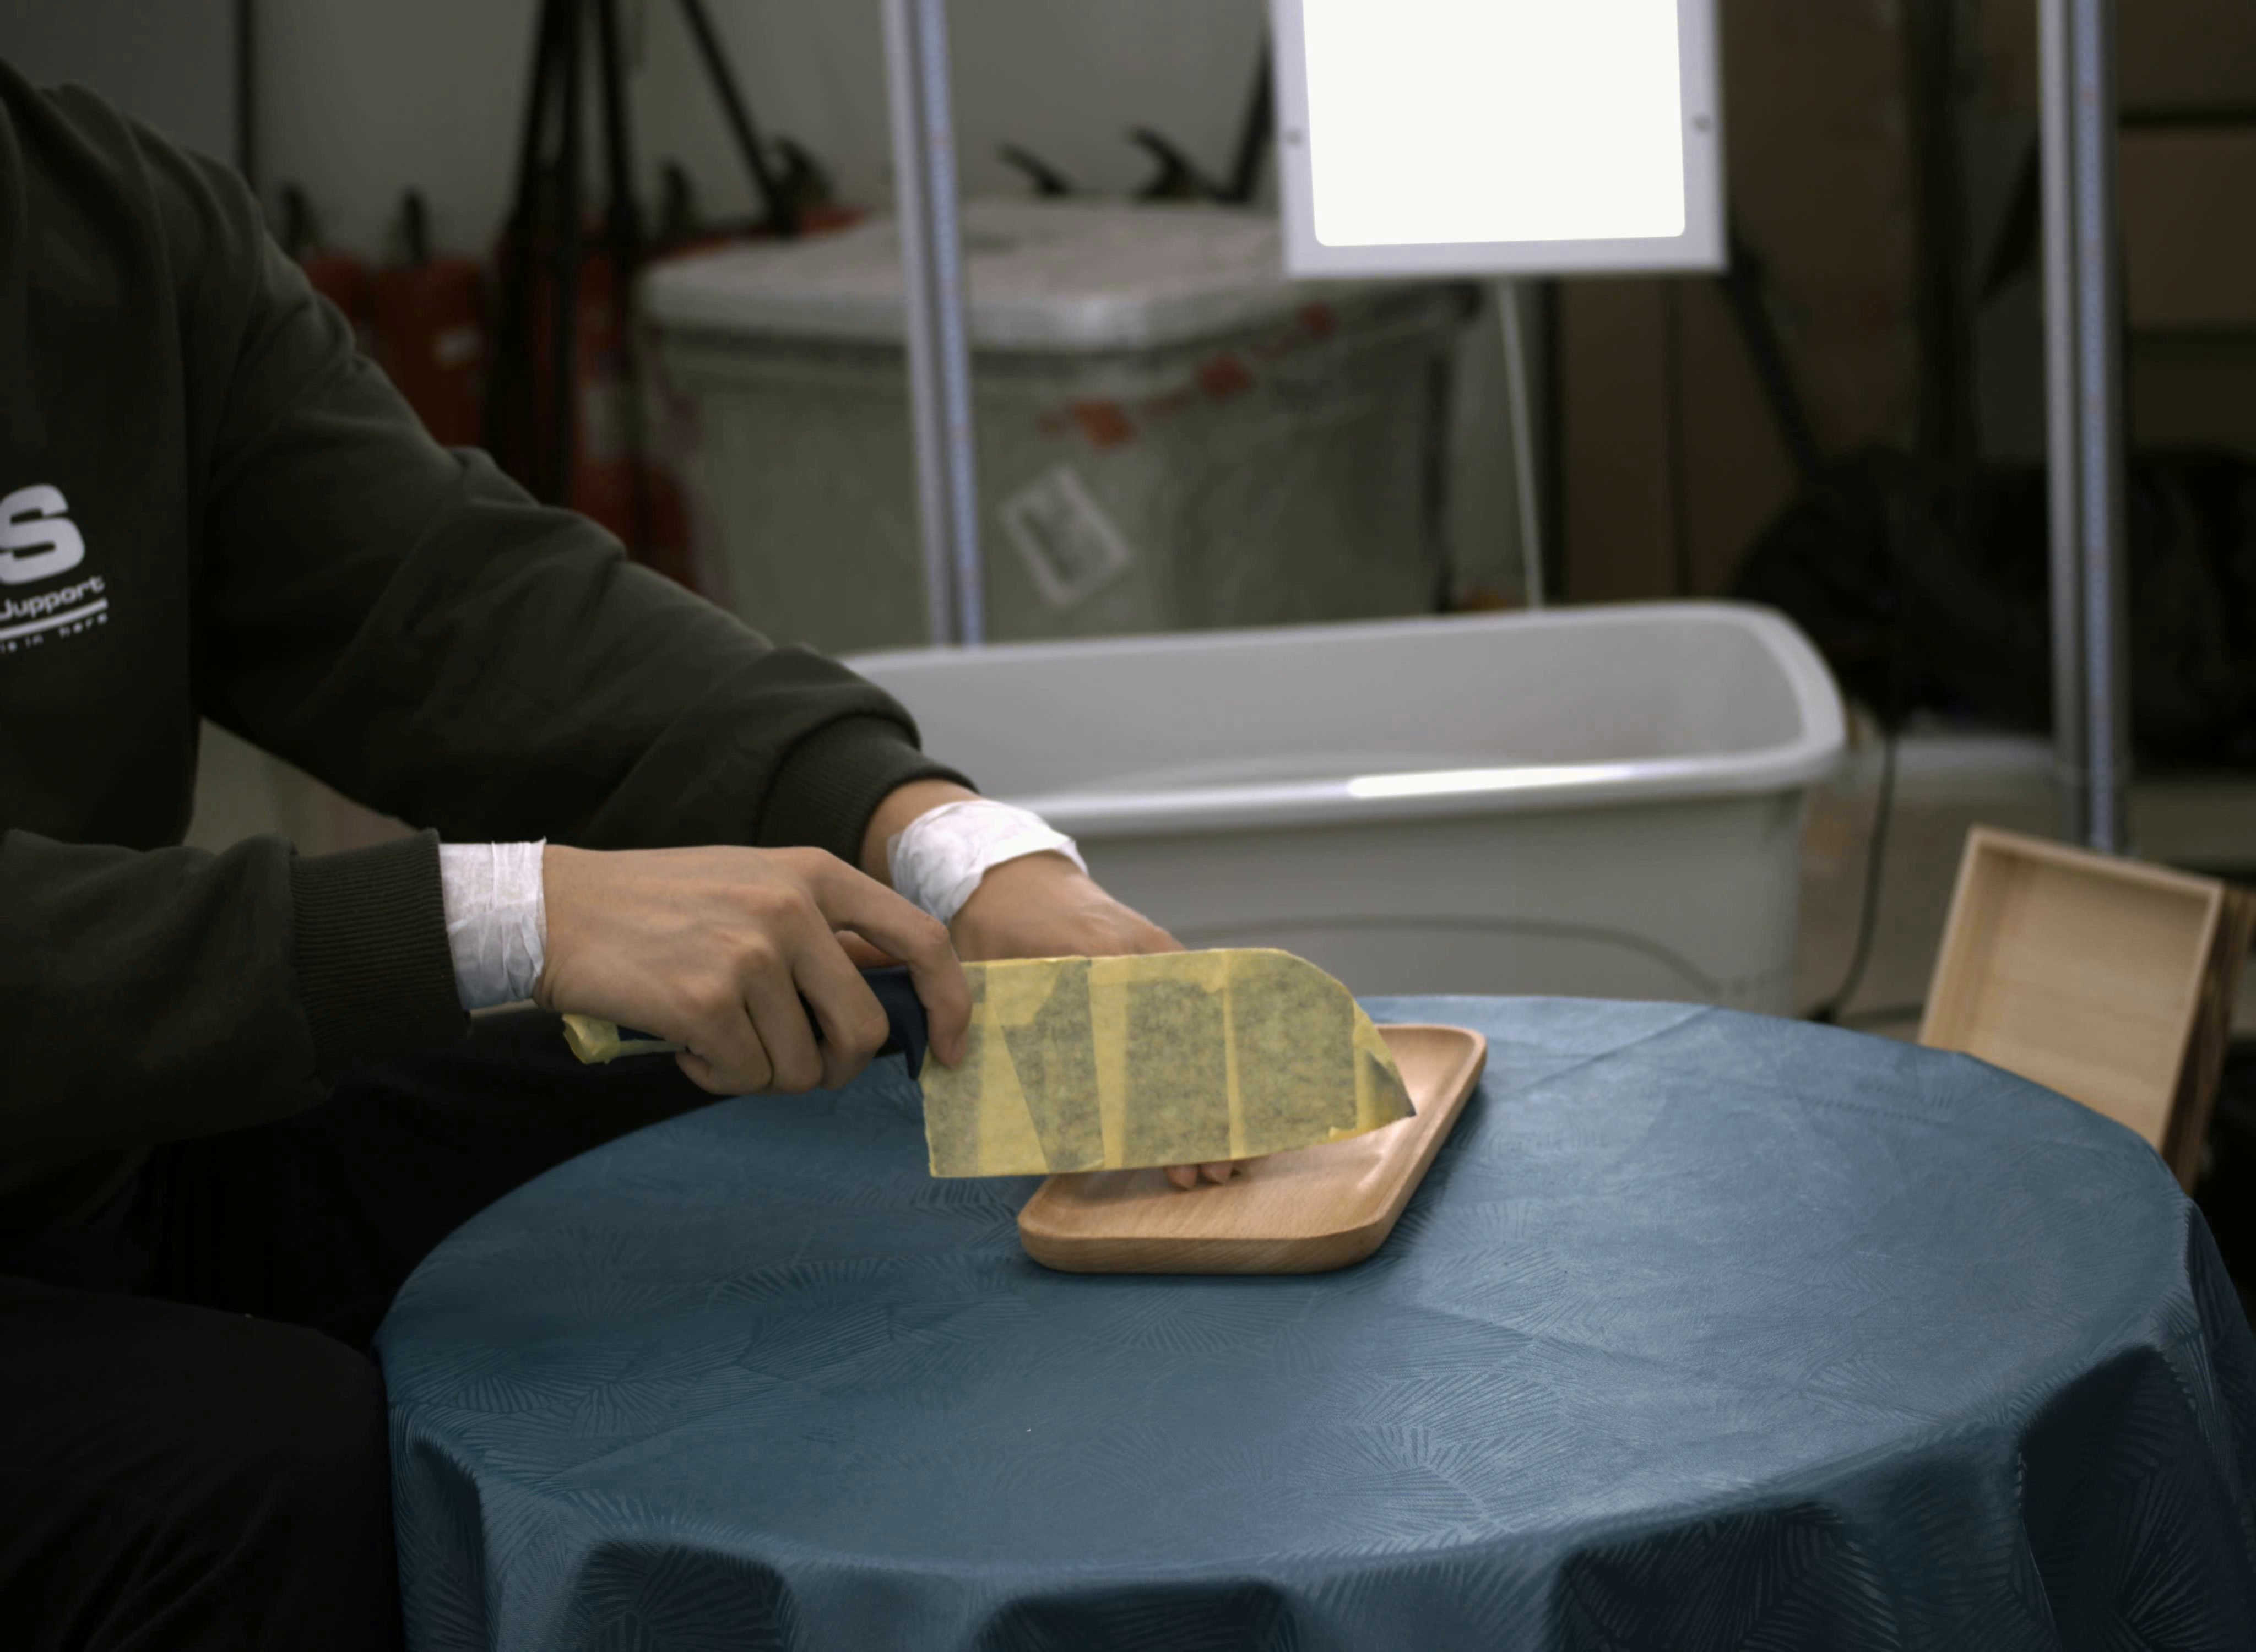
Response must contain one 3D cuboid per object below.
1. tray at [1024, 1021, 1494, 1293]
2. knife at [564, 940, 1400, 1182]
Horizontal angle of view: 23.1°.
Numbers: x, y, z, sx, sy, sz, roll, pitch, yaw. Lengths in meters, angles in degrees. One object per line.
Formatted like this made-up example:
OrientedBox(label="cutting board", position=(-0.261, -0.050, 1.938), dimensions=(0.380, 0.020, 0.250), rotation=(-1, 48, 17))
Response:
OrientedBox(label="tray", position=(0.050, 0.113, 1.917), dimensions=(0.132, 0.023, 0.247), rotation=(-4, 16, 16))
OrientedBox(label="knife", position=(-0.046, 0.079, 1.859), dimensions=(0.286, 0.081, 0.027), rotation=(0, -6, -10))
